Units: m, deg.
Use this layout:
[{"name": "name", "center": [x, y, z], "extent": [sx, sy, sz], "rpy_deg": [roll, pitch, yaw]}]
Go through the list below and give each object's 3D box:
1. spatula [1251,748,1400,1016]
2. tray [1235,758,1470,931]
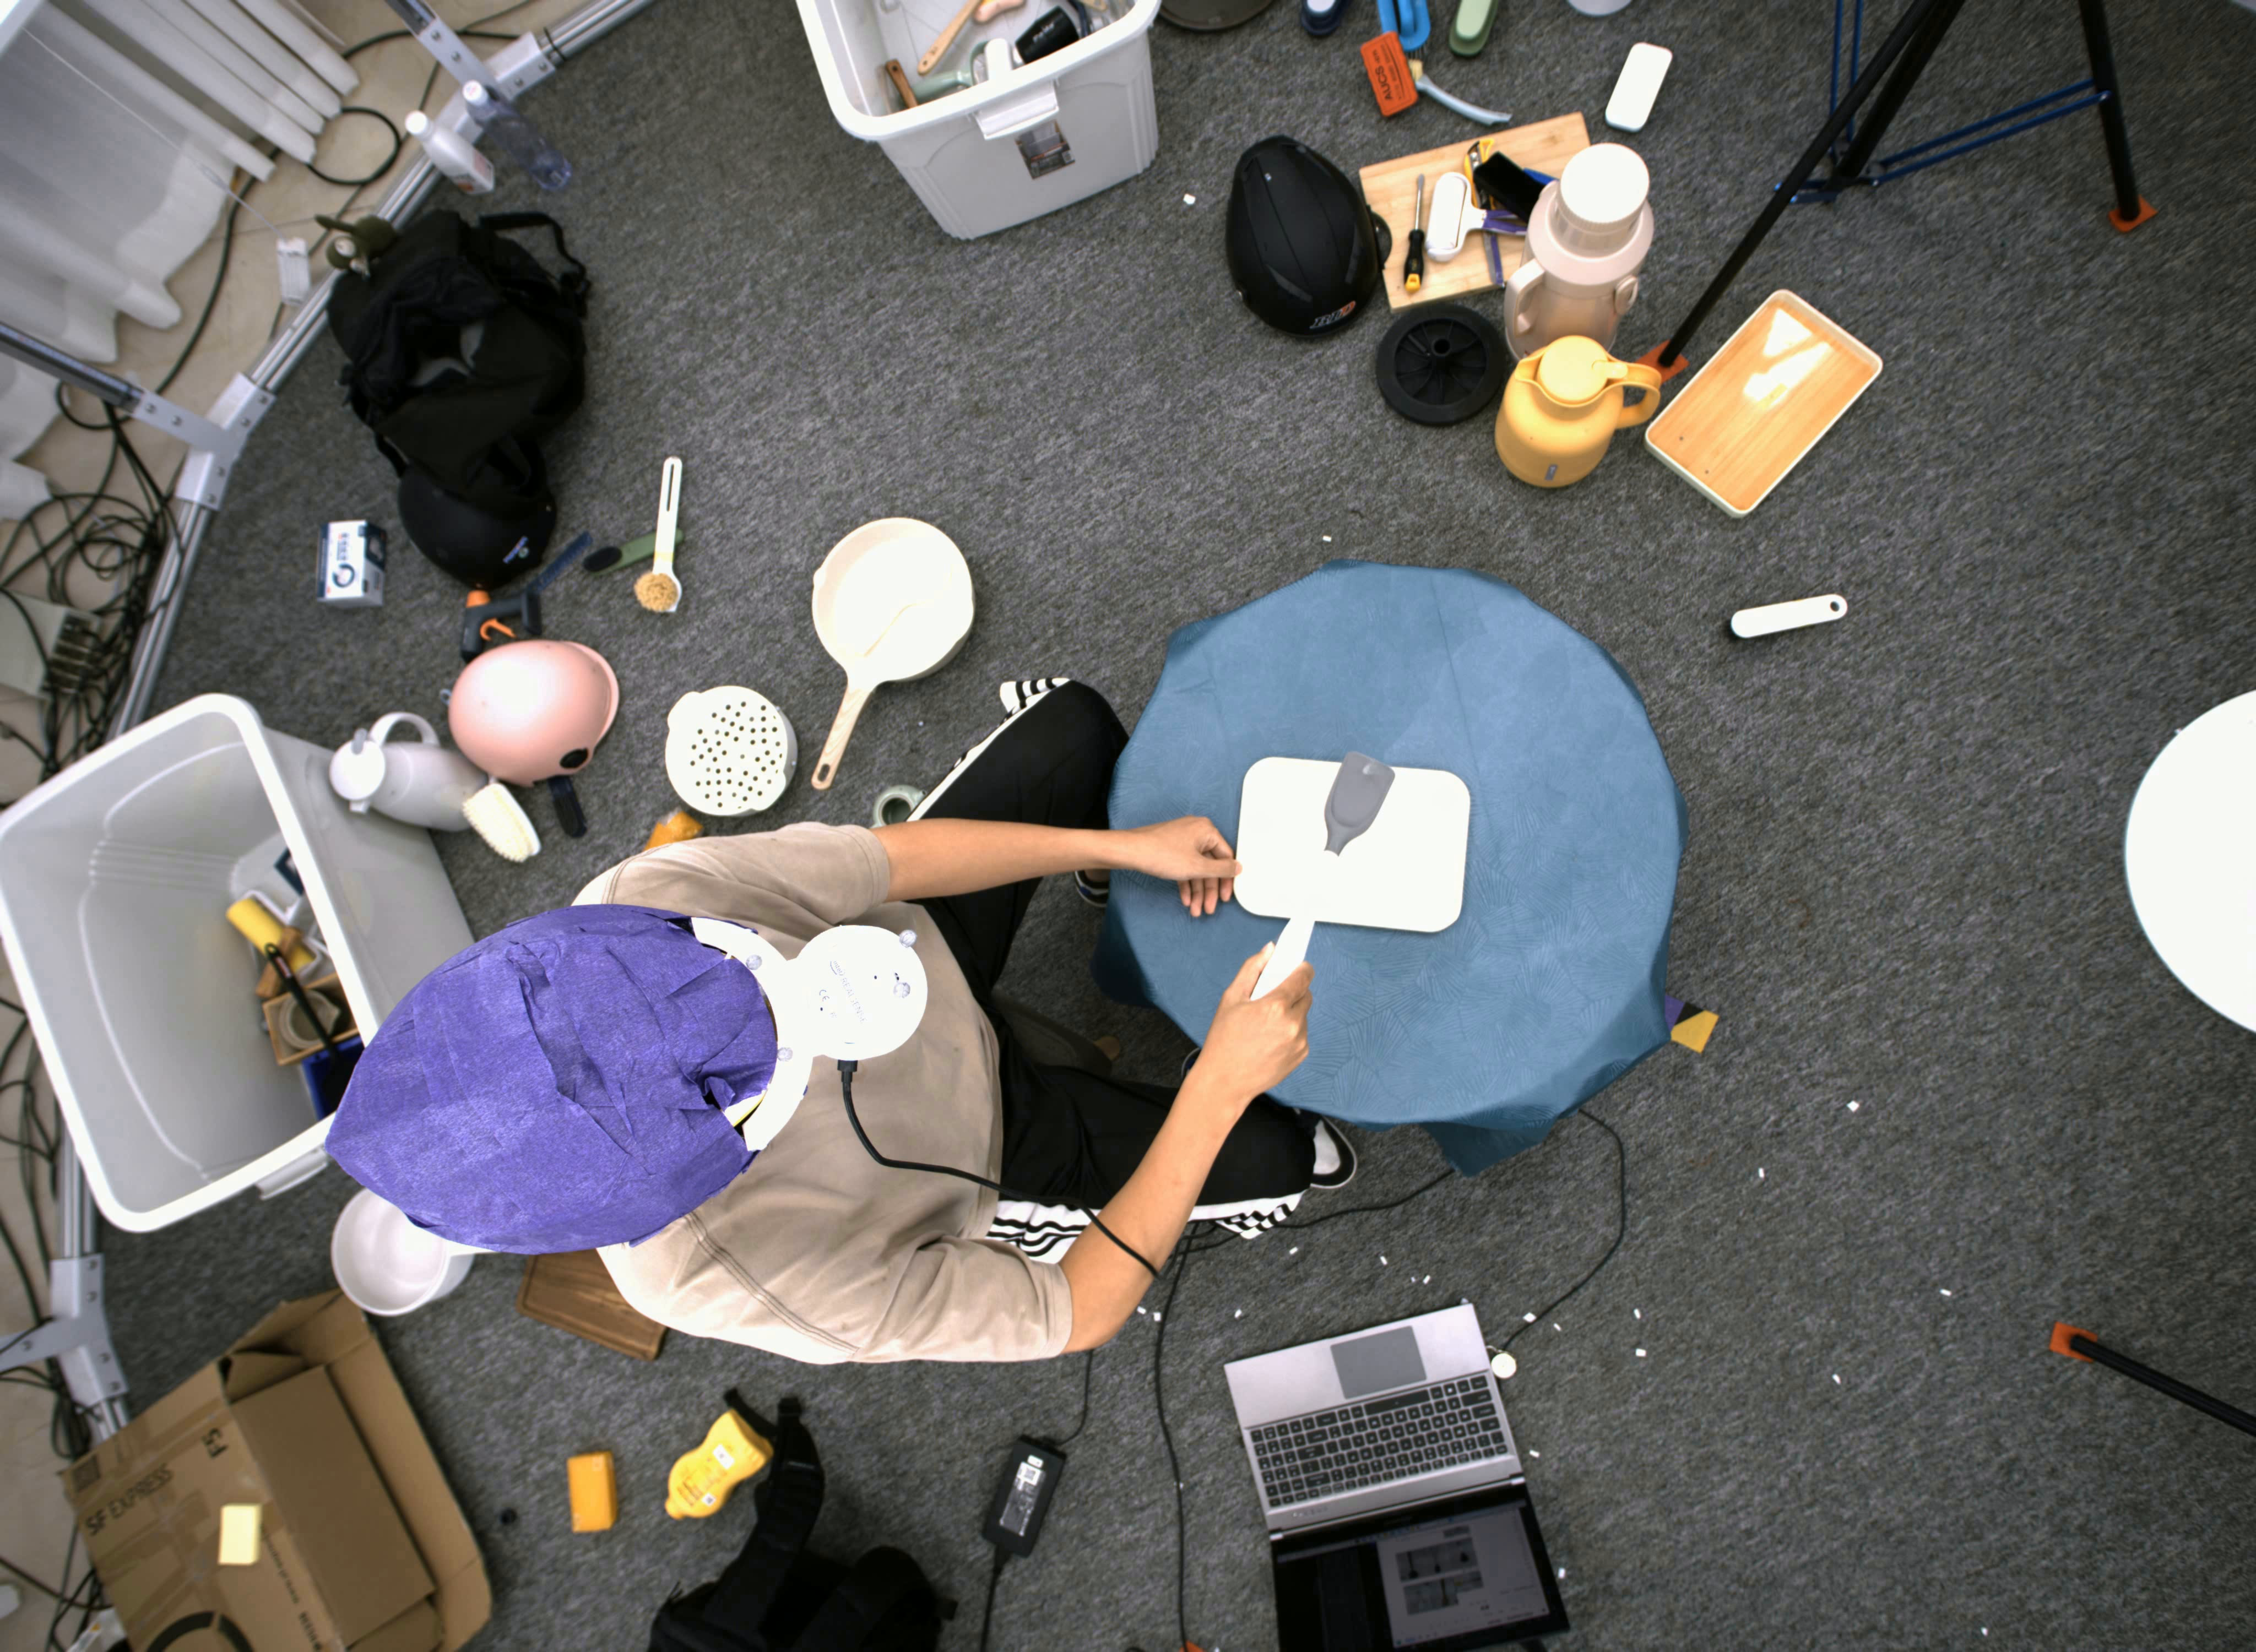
[{"name": "spatula", "center": [0.181, 0.047, 1.284], "extent": [0.058, 0.033, 0.281], "rpy_deg": [22, 64, 12]}, {"name": "tray", "center": [0.237, 0.018, 1.461], "extent": [0.240, 0.017, 0.170], "rpy_deg": [5, 87, 11]}]
